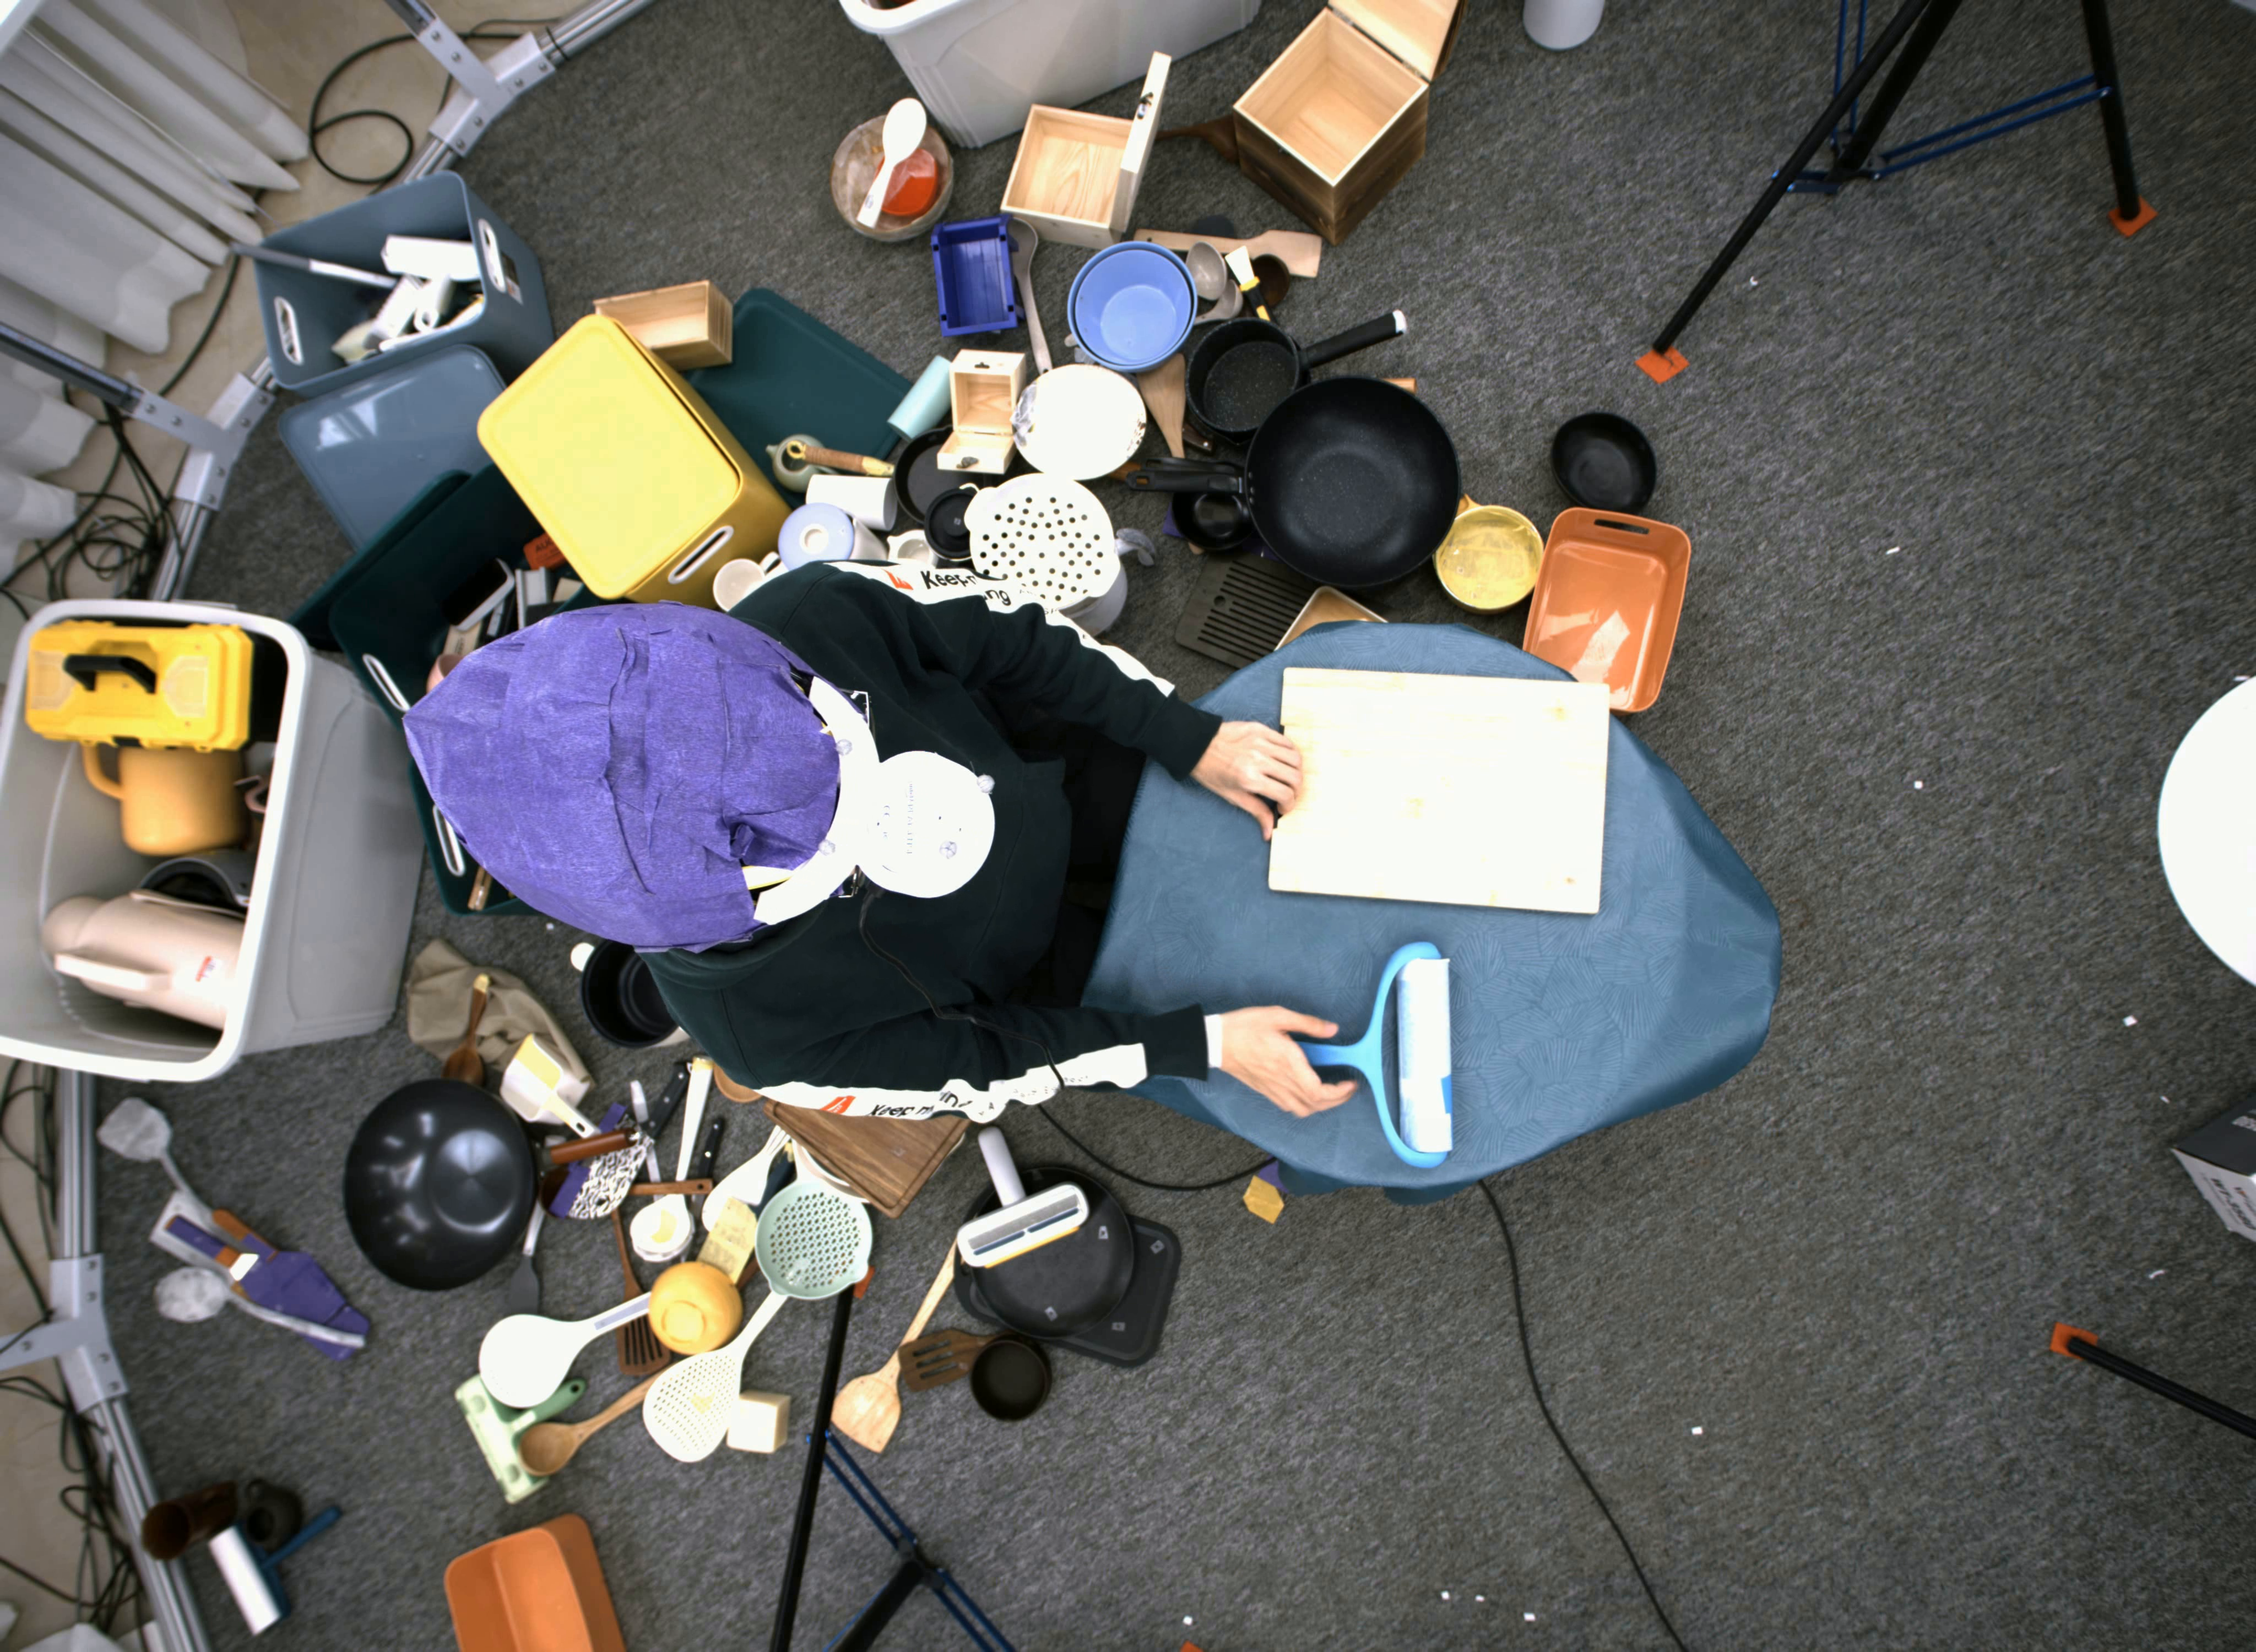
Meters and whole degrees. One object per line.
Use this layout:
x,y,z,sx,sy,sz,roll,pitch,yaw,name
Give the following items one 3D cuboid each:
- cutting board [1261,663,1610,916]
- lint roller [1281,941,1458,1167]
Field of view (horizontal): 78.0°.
0.321,-0.042,1.444,0.350,0.023,0.250,3,88,10,cutting board
0.247,0.235,1.422,0.181,0.068,0.228,-5,87,9,lint roller
